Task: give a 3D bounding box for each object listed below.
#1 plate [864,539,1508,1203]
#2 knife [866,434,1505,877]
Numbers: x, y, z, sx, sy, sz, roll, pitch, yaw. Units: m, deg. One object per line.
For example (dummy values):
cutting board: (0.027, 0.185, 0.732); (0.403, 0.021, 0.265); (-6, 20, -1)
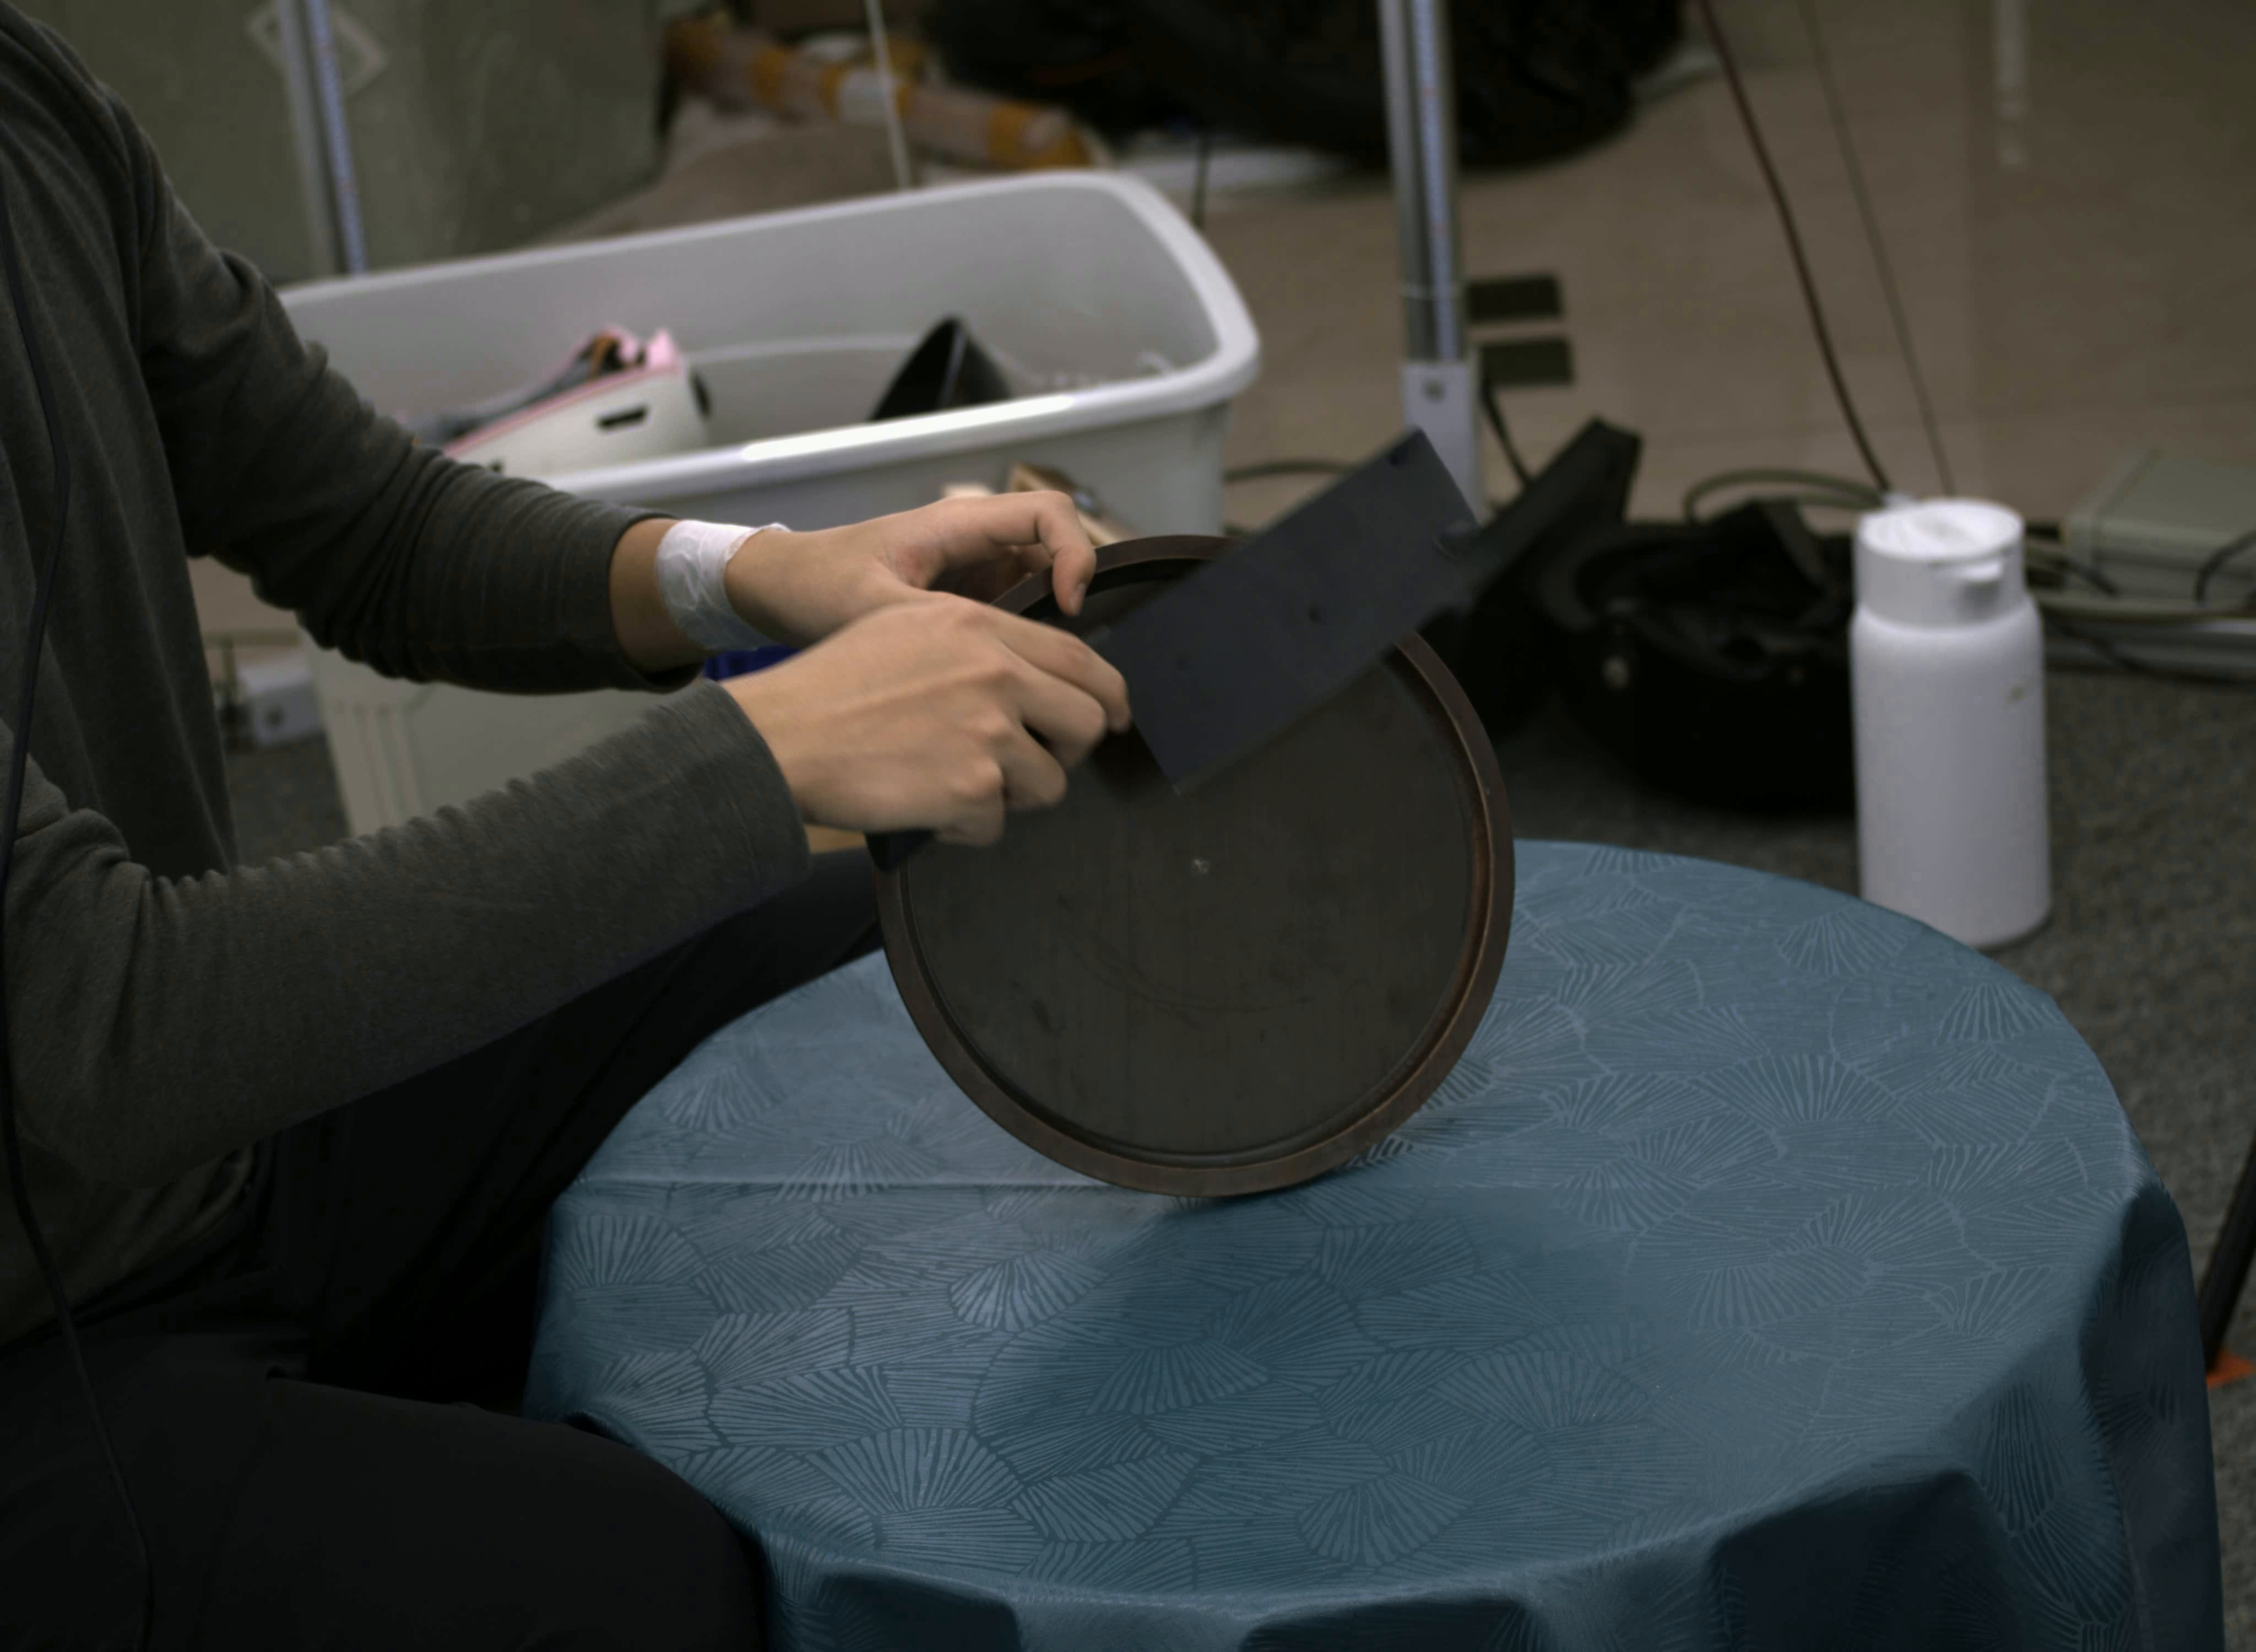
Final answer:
plate: (0.022, 0.017, 2.146); (0.254, 0.255, 0.029); (-14, 1, -16)
knife: (0.022, -0.056, 2.113); (0.300, 0.081, 0.021); (-29, 5, -29)
